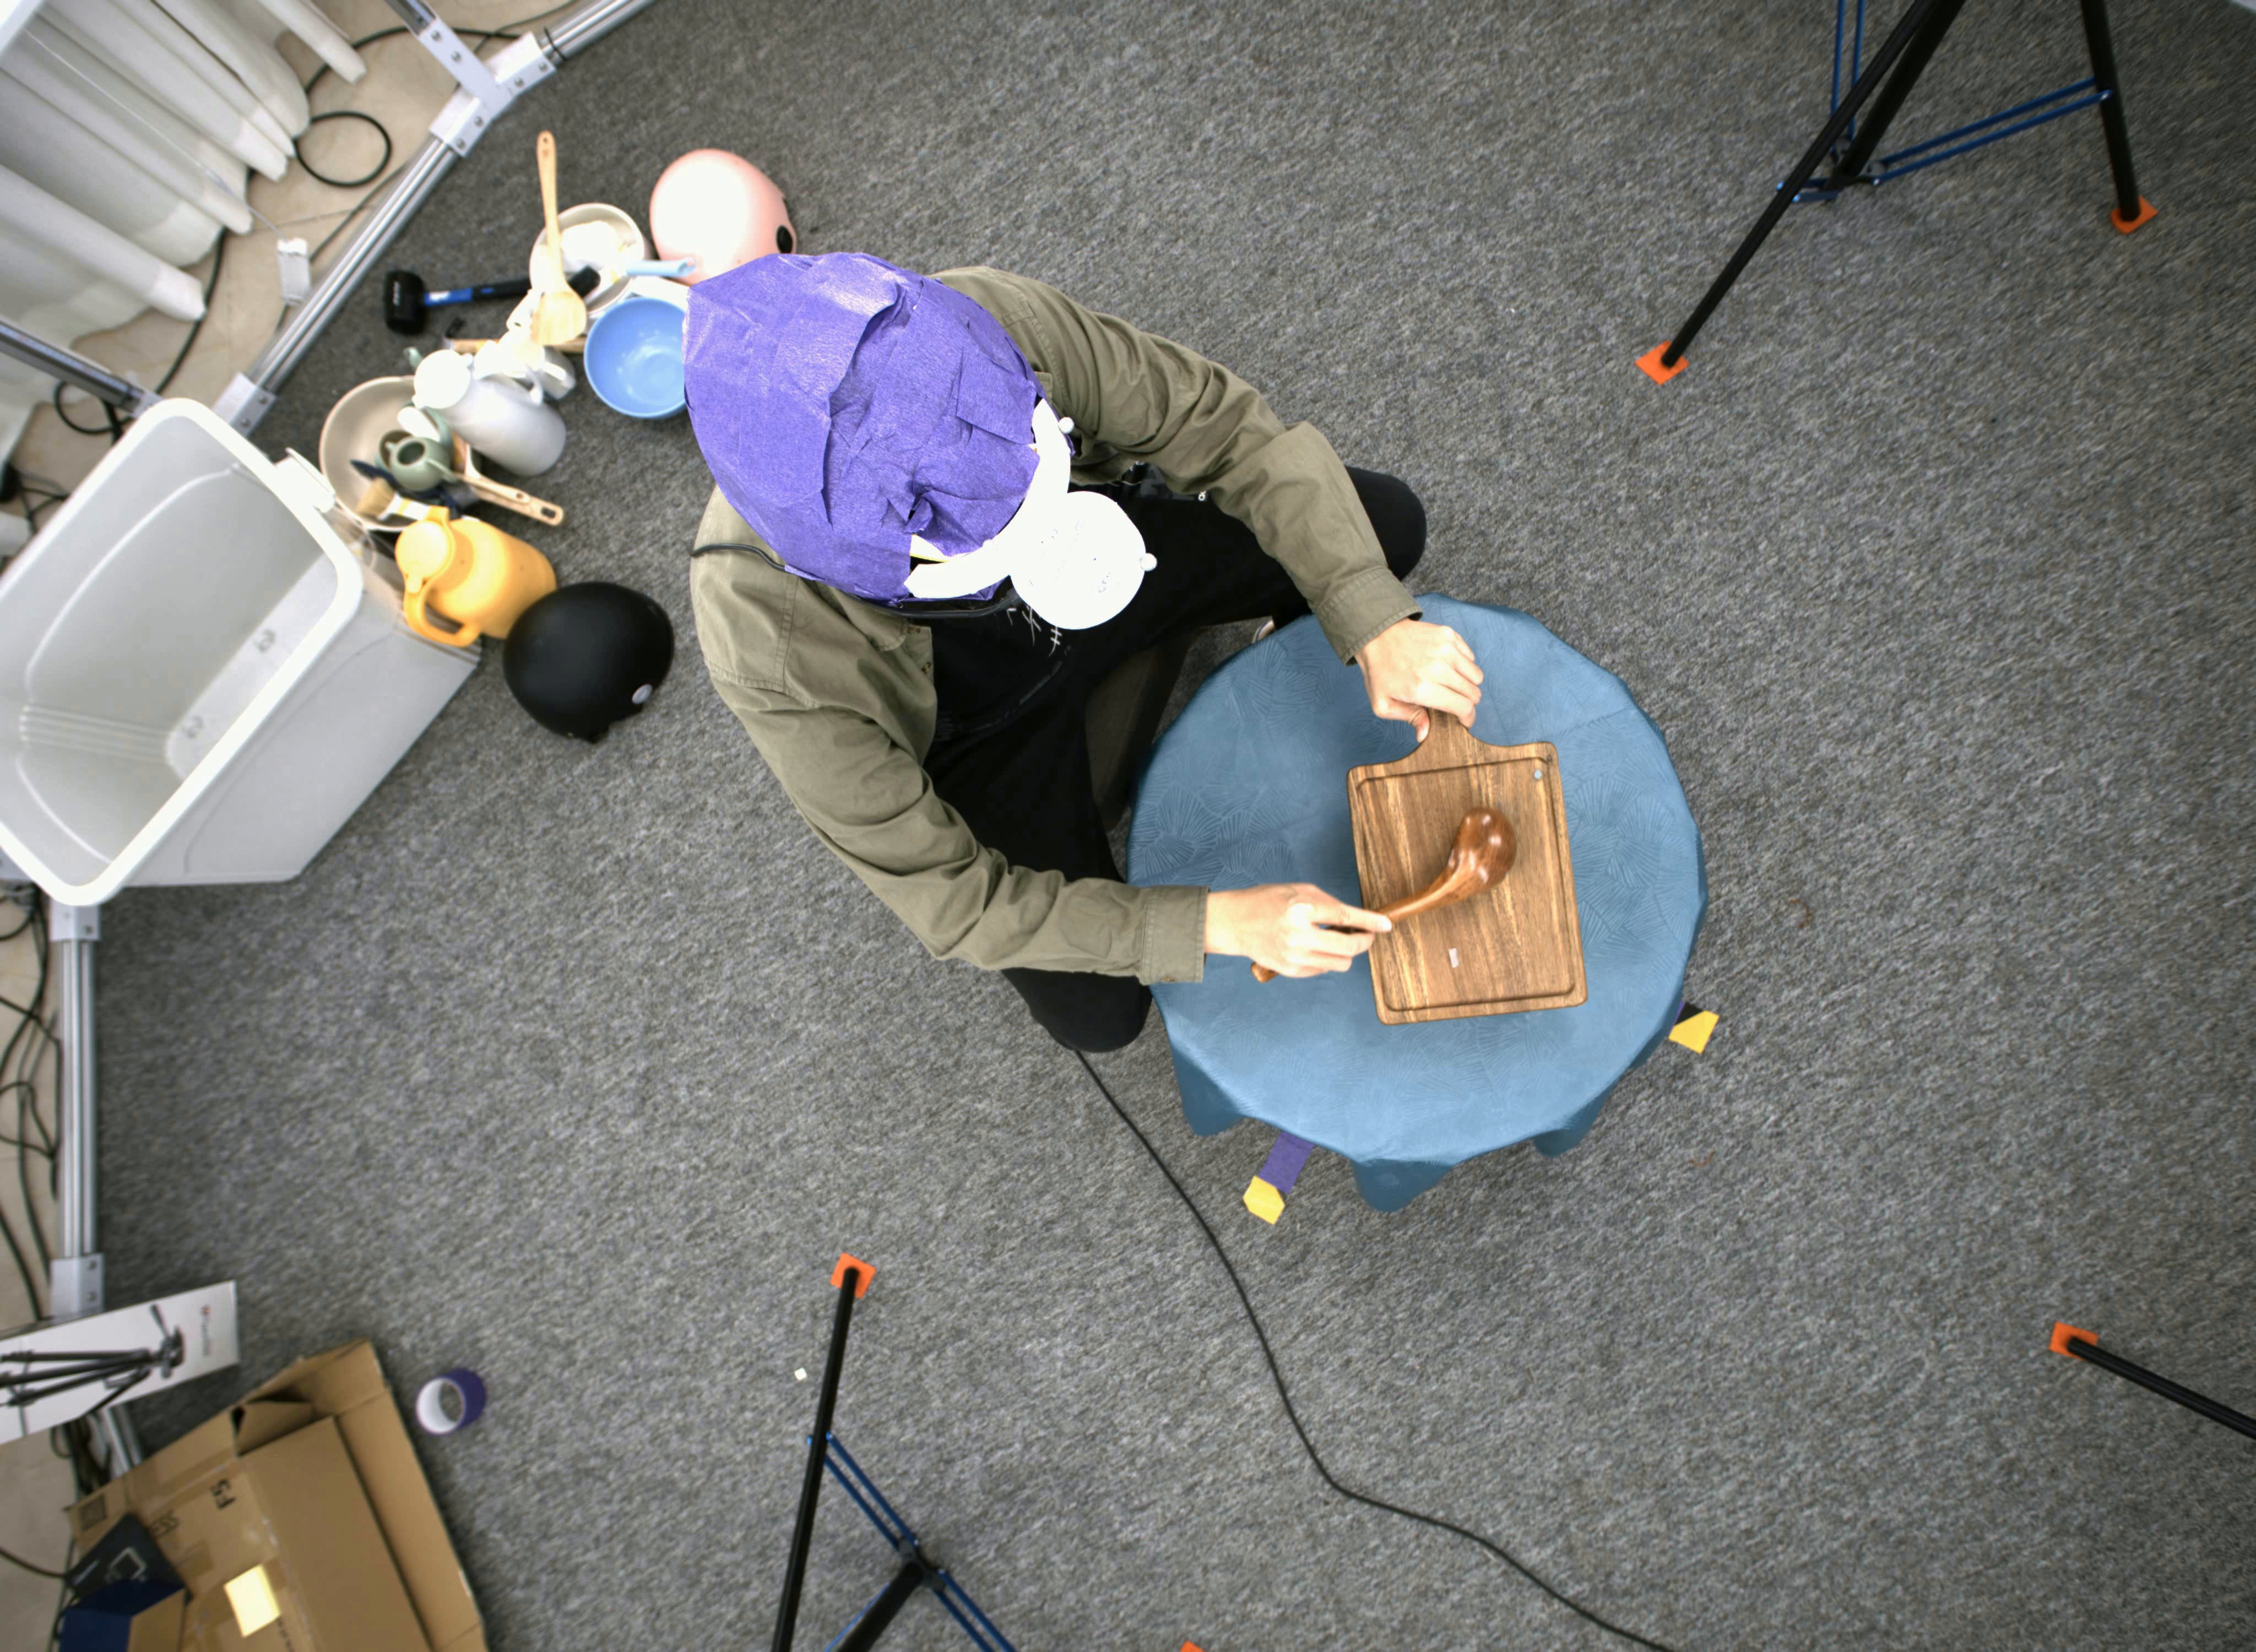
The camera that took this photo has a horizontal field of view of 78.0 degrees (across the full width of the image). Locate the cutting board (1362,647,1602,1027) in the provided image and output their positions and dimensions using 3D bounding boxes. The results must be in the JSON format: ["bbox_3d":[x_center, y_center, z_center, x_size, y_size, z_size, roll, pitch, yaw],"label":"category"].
[{"bbox_3d":[0.326,0.006,1.288,0.202,0.023,0.353,-5,95,12],"label":"cutting board"}]

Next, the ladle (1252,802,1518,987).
[{"bbox_3d":[0.233,0.063,1.283,0.277,0.074,0.083,-26,125,20],"label":"ladle"}]
